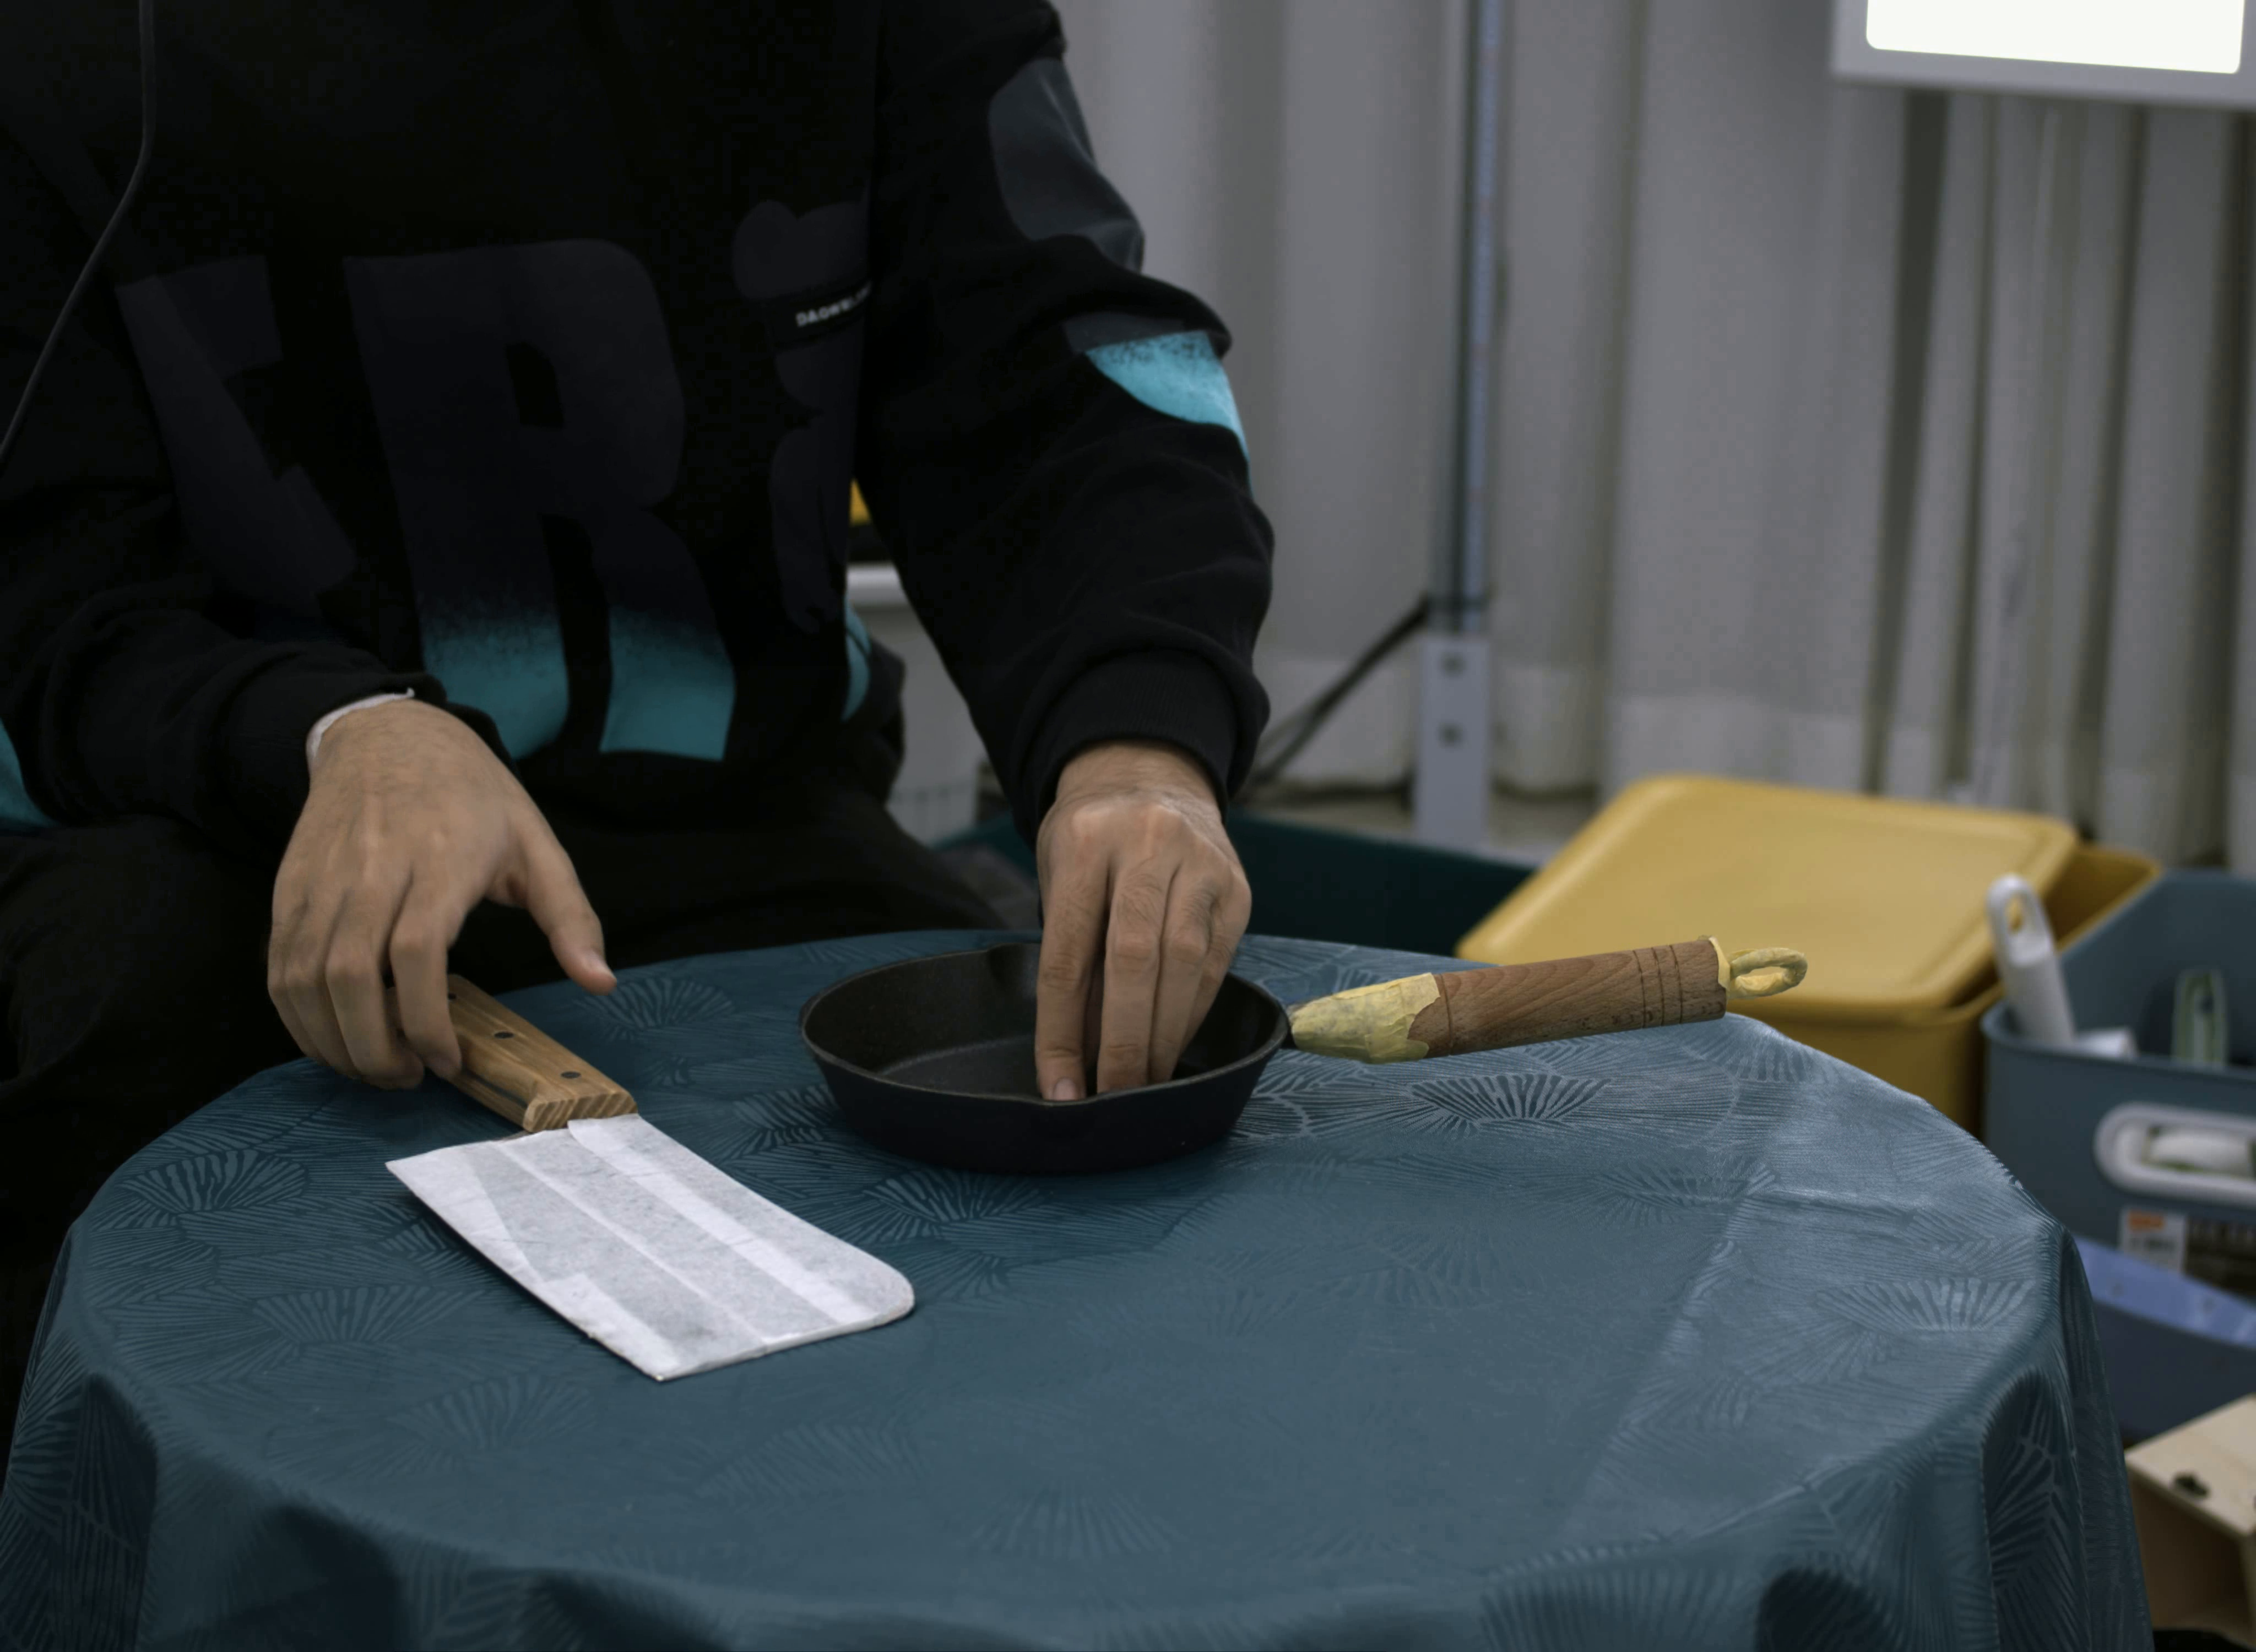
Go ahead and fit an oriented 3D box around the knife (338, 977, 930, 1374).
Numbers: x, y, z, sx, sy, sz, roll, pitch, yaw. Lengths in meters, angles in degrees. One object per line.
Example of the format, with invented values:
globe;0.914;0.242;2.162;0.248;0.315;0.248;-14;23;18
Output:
knife;-0.167;0.104;1.614;0.114;0.022;0.311;-8;21;-28

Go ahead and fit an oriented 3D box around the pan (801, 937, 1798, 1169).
pan;0.057;0.067;1.695;0.323;0.050;0.168;-2;15;-5
